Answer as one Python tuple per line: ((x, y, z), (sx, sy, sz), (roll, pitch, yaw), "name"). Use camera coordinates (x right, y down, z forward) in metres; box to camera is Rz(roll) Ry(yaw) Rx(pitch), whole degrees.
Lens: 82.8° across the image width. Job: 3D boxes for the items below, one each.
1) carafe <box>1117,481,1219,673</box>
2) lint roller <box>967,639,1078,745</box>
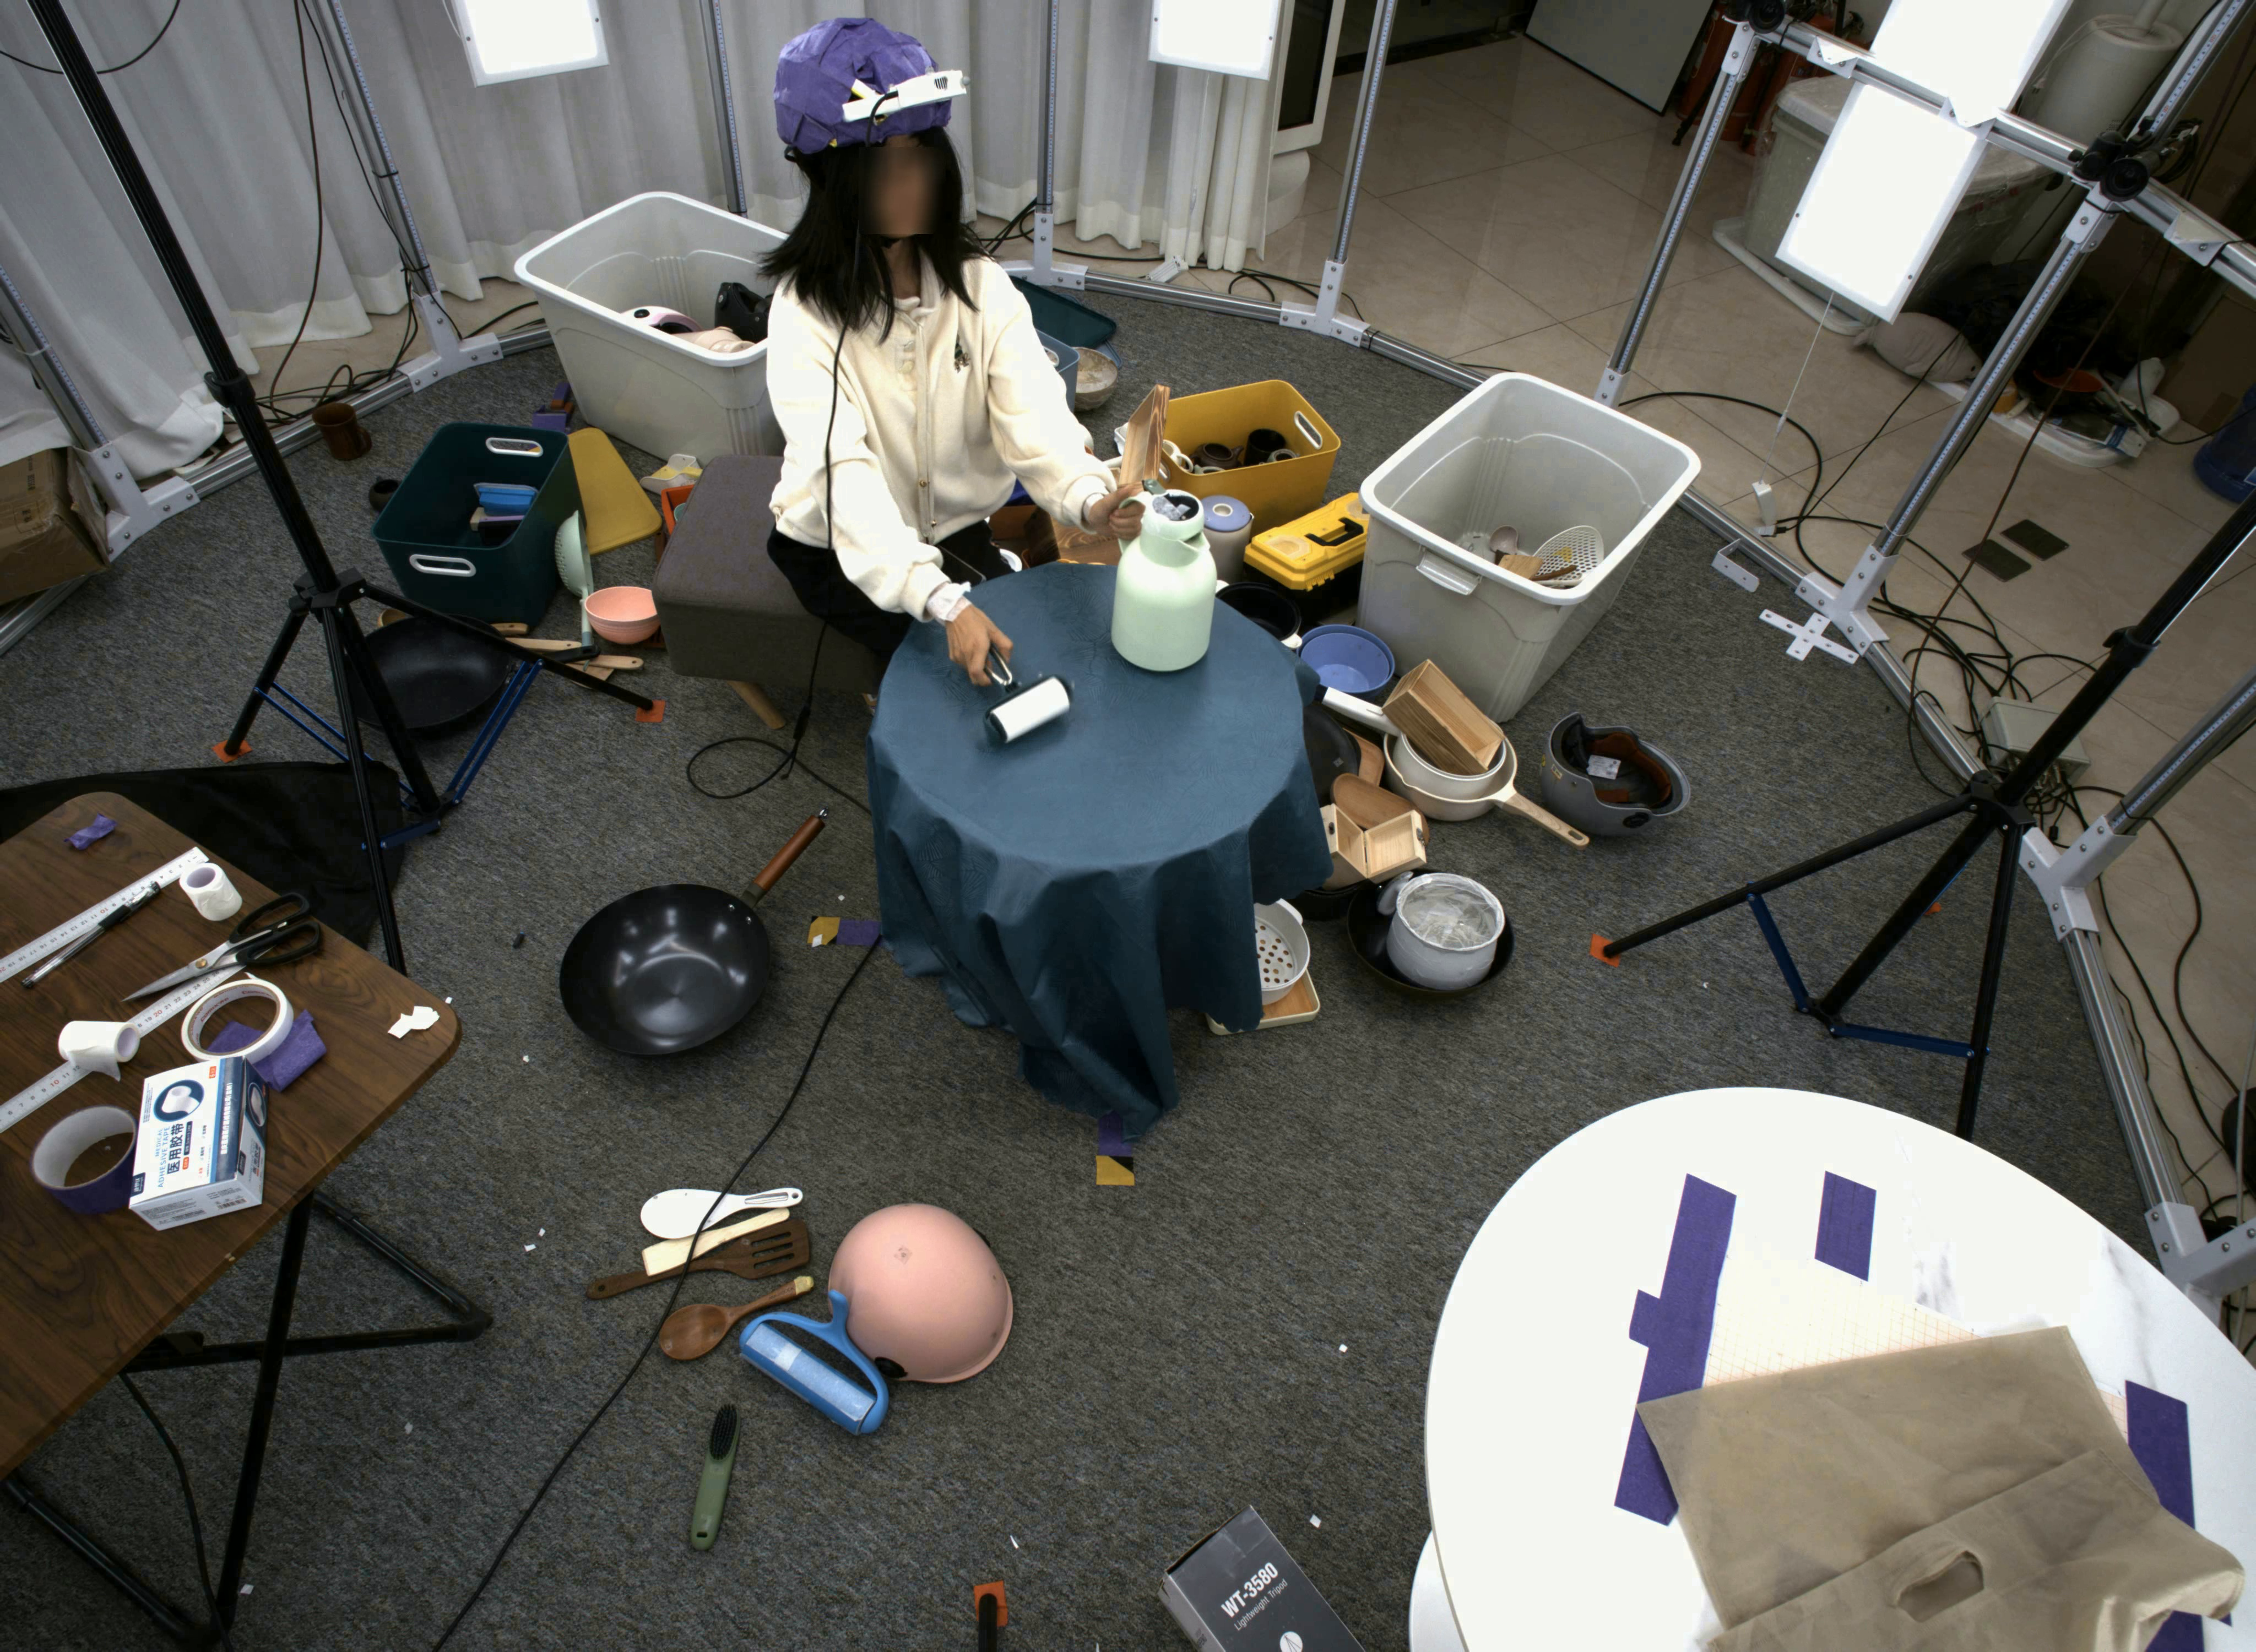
((0.050, -0.358, 1.823), (0.145, 0.250, 0.190), (-27, 53, -22), "carafe")
((-0.171, -0.204, 1.777), (0.135, 0.047, 0.183), (-26, 67, -20), "lint roller")
